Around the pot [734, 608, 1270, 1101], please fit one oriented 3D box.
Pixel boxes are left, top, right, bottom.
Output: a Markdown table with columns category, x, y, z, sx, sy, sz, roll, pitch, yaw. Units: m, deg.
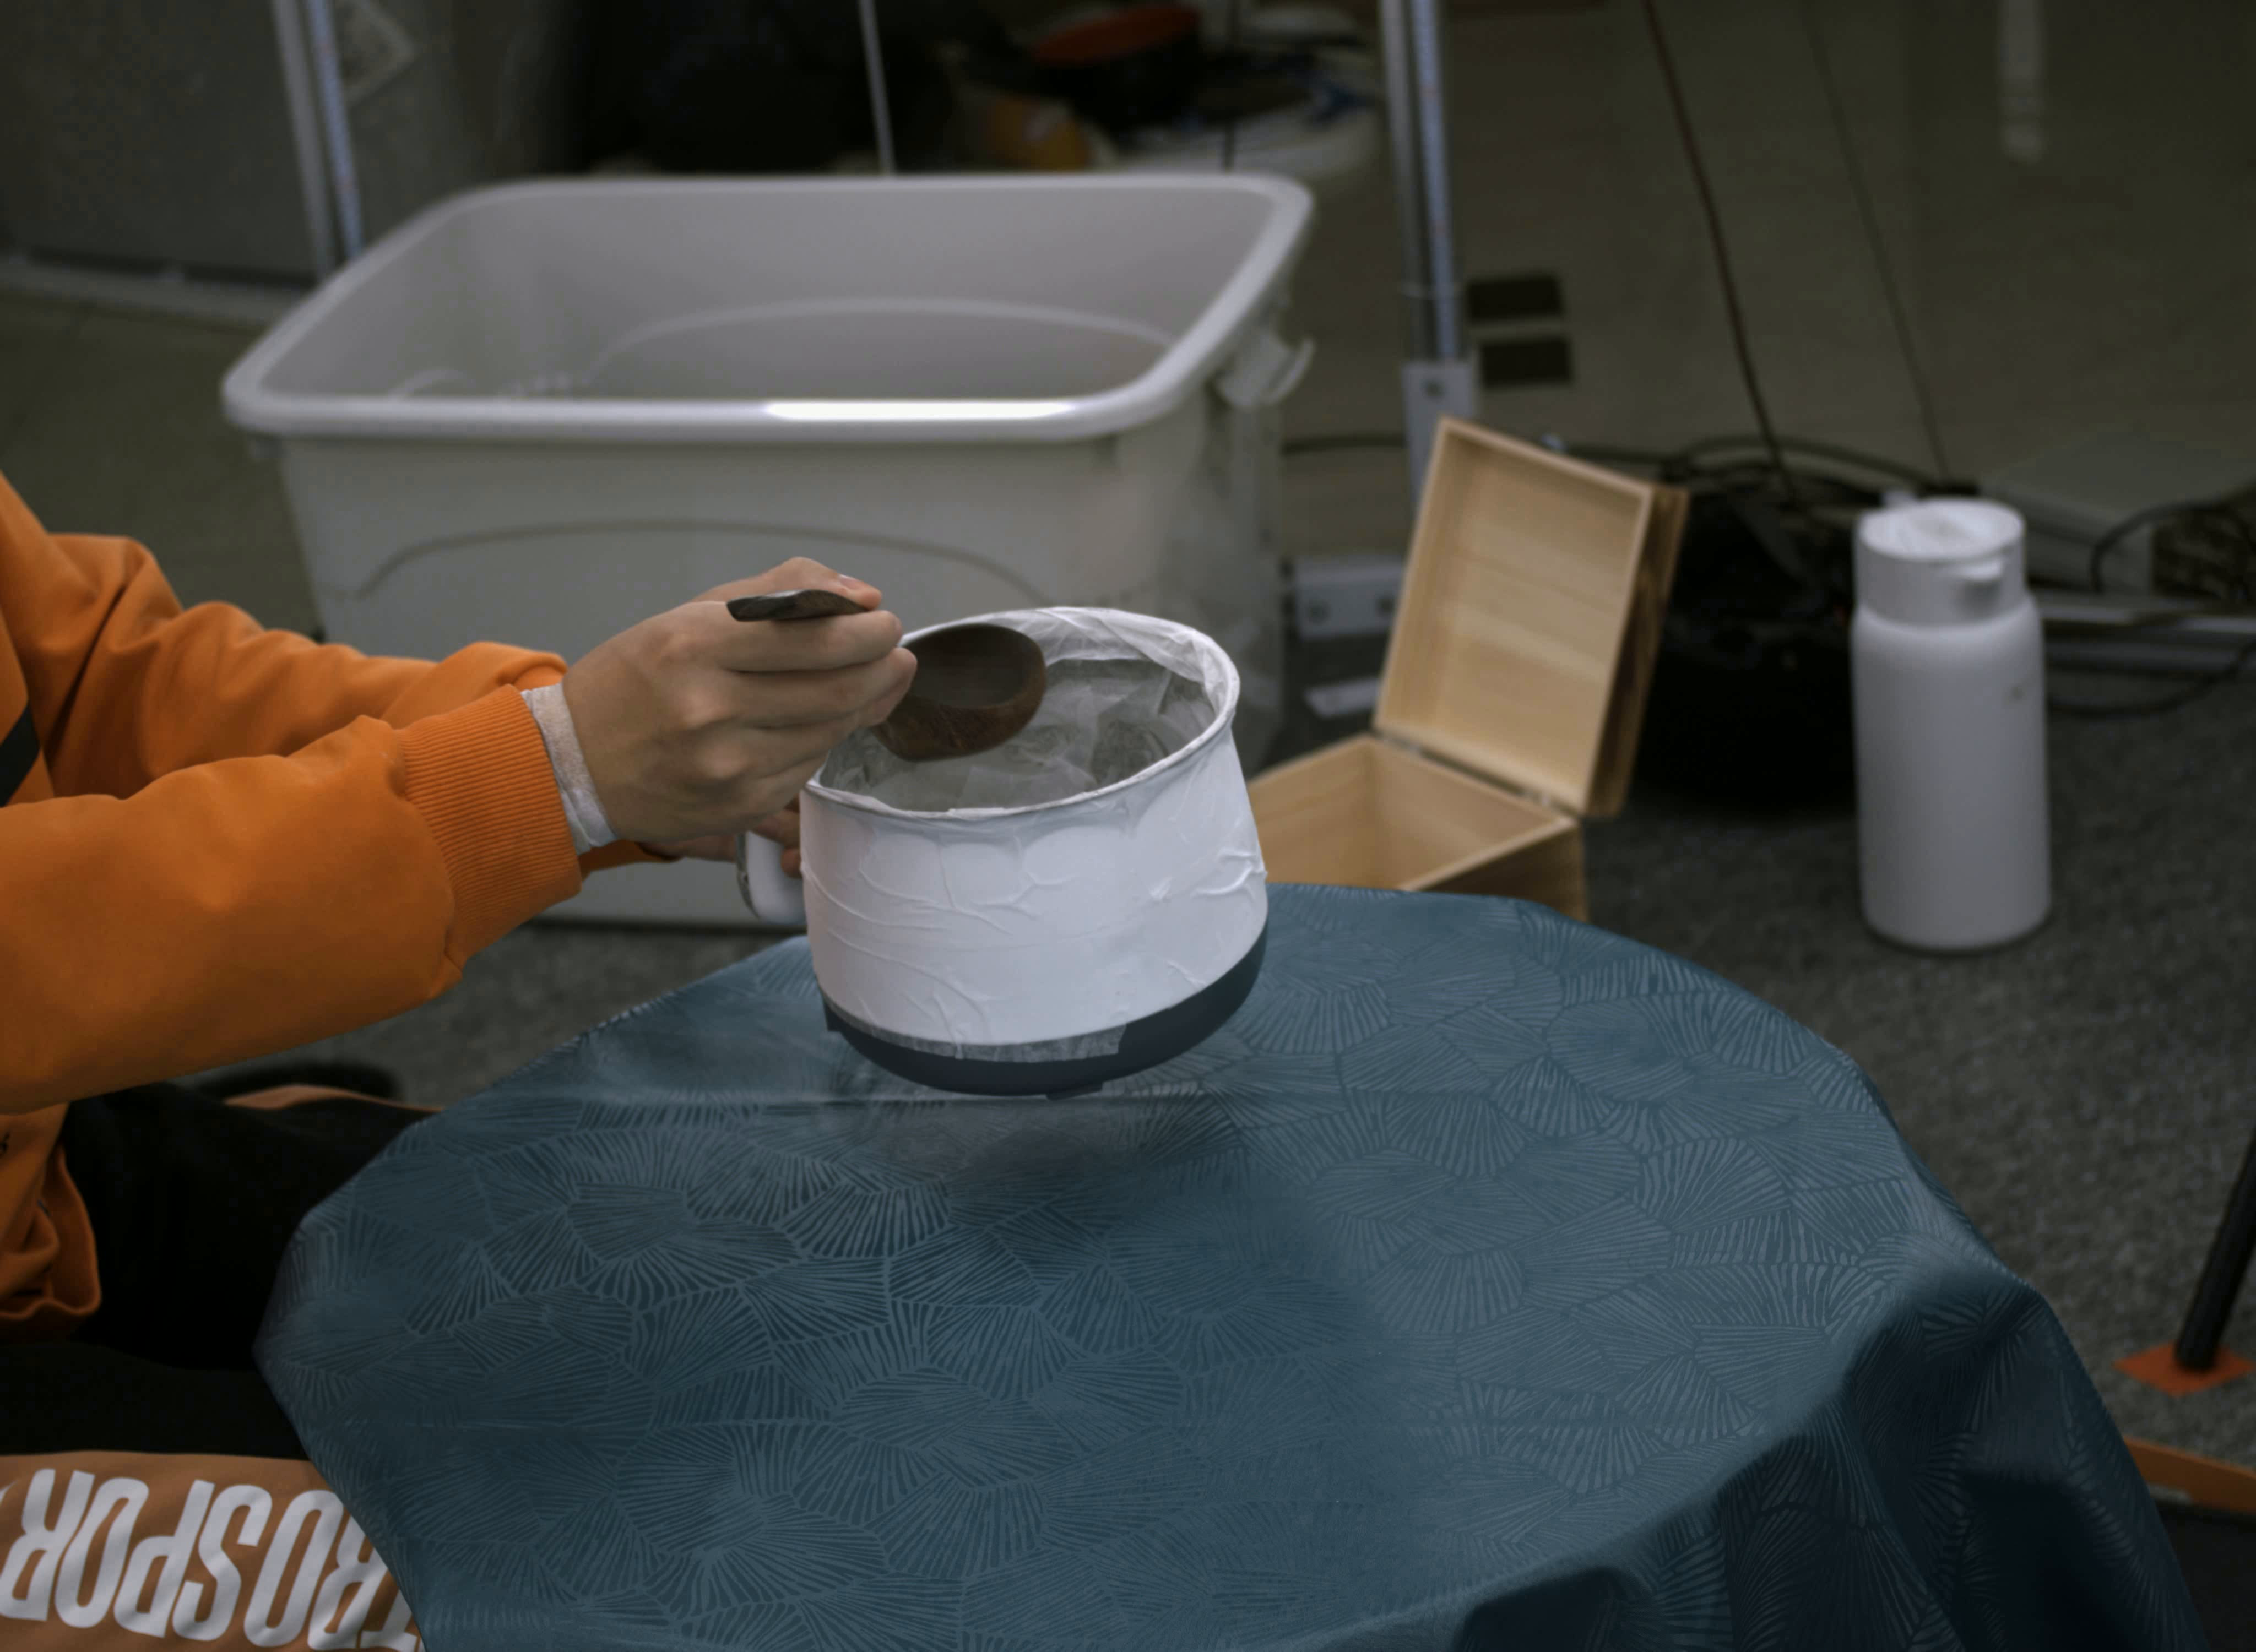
| category | x | y | z | sx | sy | sz | roll | pitch | yaw |
| --- | --- | --- | --- | --- | --- | --- | --- | --- | --- |
| pot | -0.059 | 0.007 | 2.176 | 0.232 | 0.139 | 0.176 | 12 | 33 | 33 |

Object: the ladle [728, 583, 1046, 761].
| category | x | y | z | sx | sy | sz | roll | pitch | yaw |
| --- | --- | --- | --- | --- | --- | --- | --- | --- | --- |
| ladle | -0.094 | -0.078 | 2.053 | 0.076 | 0.071 | 0.276 | -10 | -15 | 13 |
